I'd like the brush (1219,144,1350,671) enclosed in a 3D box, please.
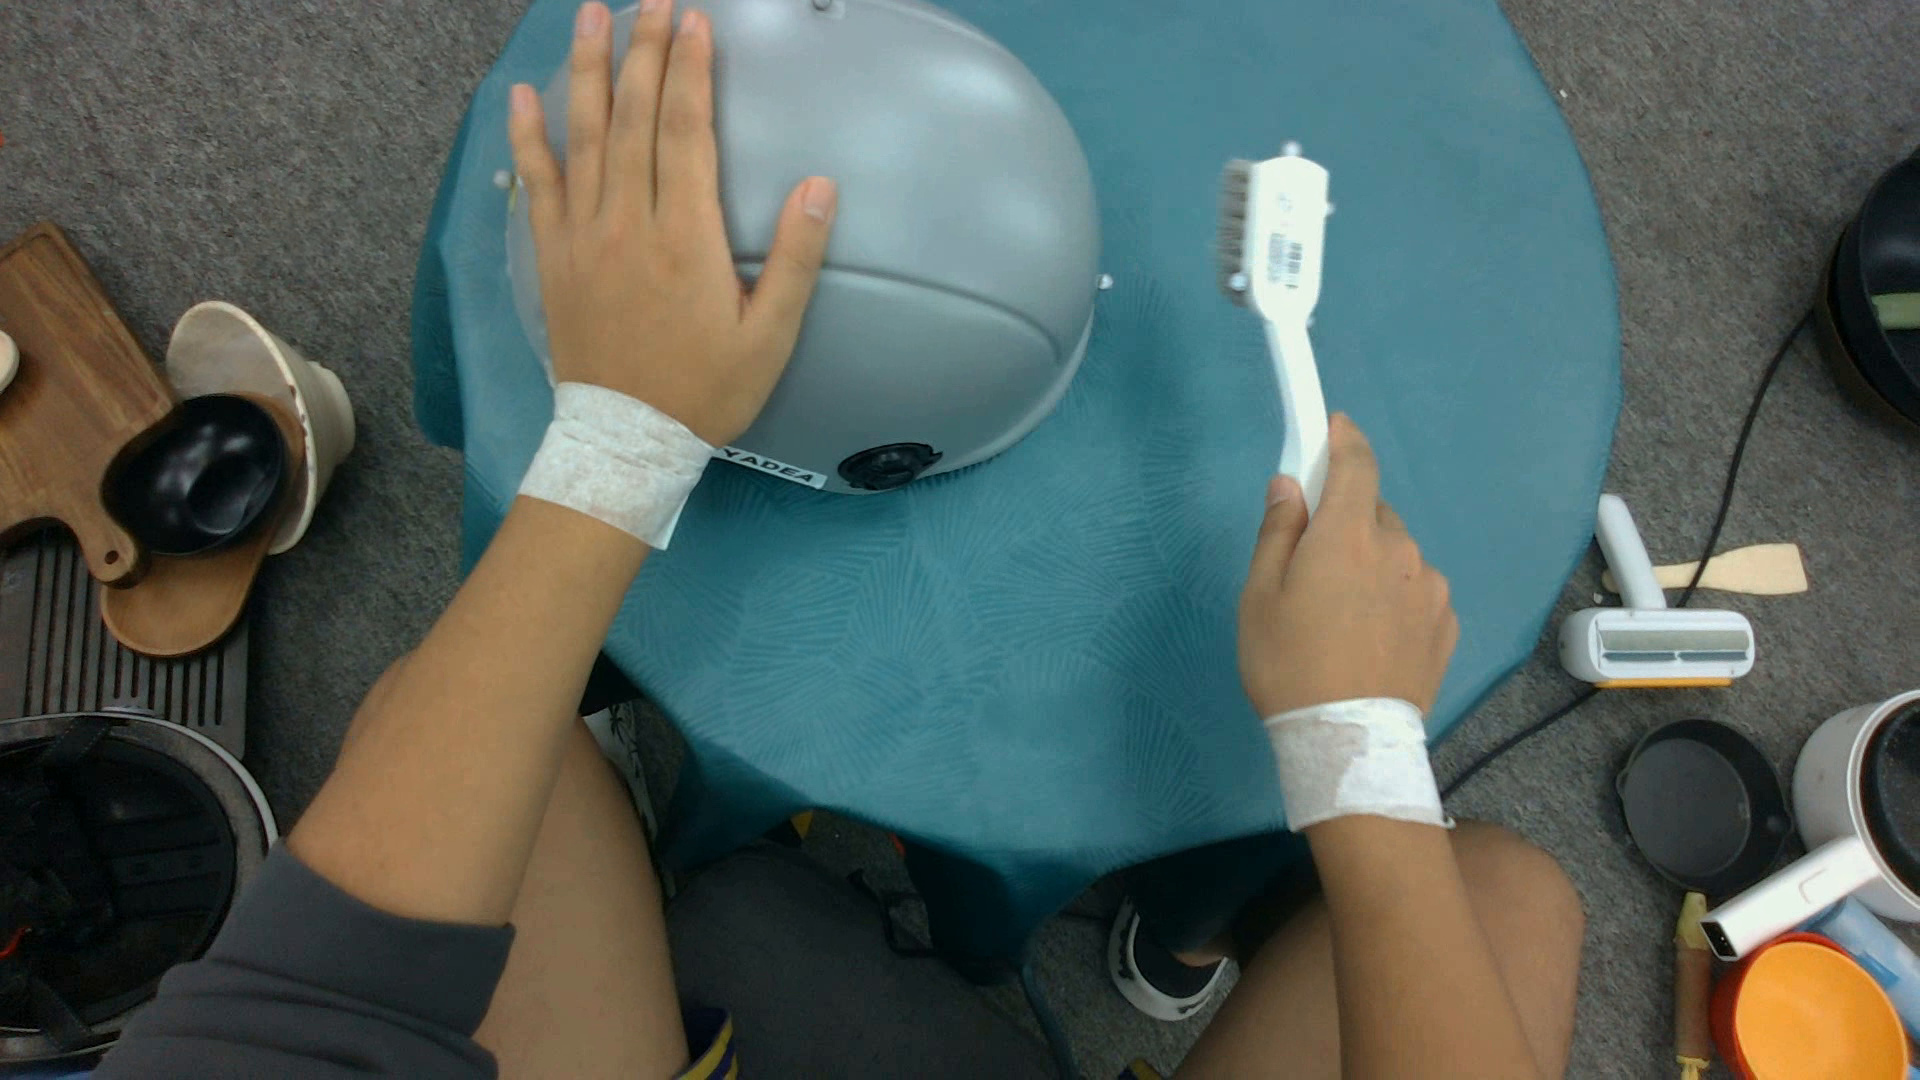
[{"bbox_3d":[0.144,-0.063,0.613,0.034,0.050,0.244,2,80,-18],"label":"brush"}]

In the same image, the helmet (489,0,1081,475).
[{"bbox_3d":[-0.066,-0.152,0.597,0.276,0.168,0.232,1,79,-10],"label":"helmet"}]
